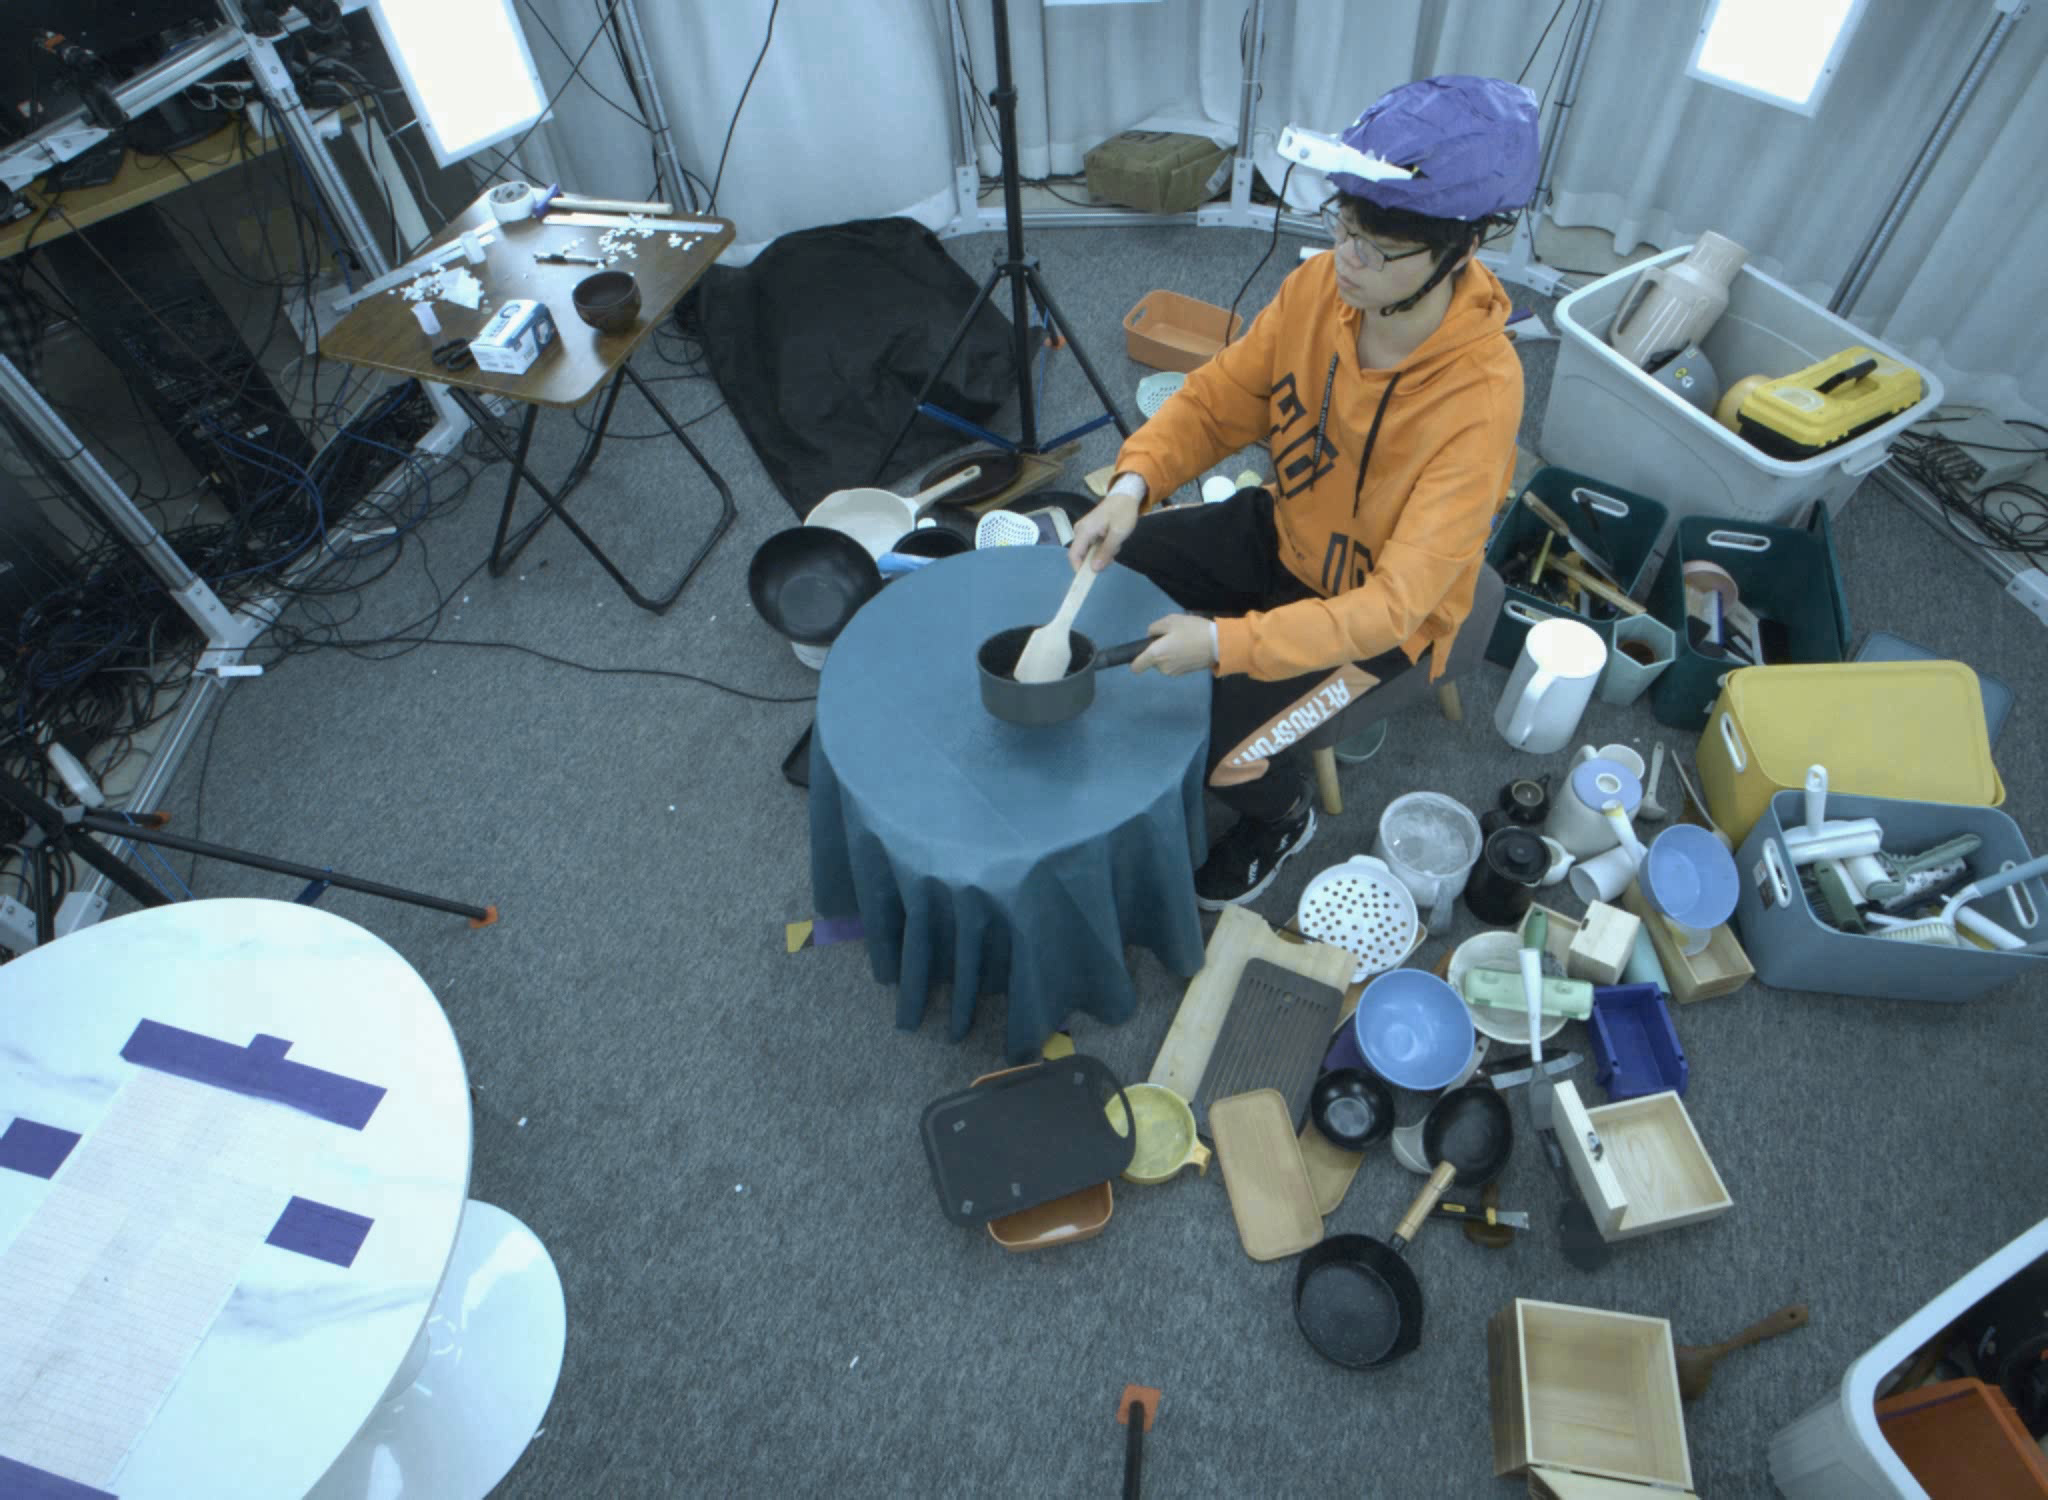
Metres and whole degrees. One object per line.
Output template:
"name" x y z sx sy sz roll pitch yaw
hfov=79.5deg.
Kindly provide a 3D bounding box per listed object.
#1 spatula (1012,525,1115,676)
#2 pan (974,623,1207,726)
"spatula" 0.065 -0.209 1.770 0.073 0.010 0.293 36 67 -24
"pan" 0.096 -0.116 1.742 0.330 0.087 0.169 -6 36 -3
